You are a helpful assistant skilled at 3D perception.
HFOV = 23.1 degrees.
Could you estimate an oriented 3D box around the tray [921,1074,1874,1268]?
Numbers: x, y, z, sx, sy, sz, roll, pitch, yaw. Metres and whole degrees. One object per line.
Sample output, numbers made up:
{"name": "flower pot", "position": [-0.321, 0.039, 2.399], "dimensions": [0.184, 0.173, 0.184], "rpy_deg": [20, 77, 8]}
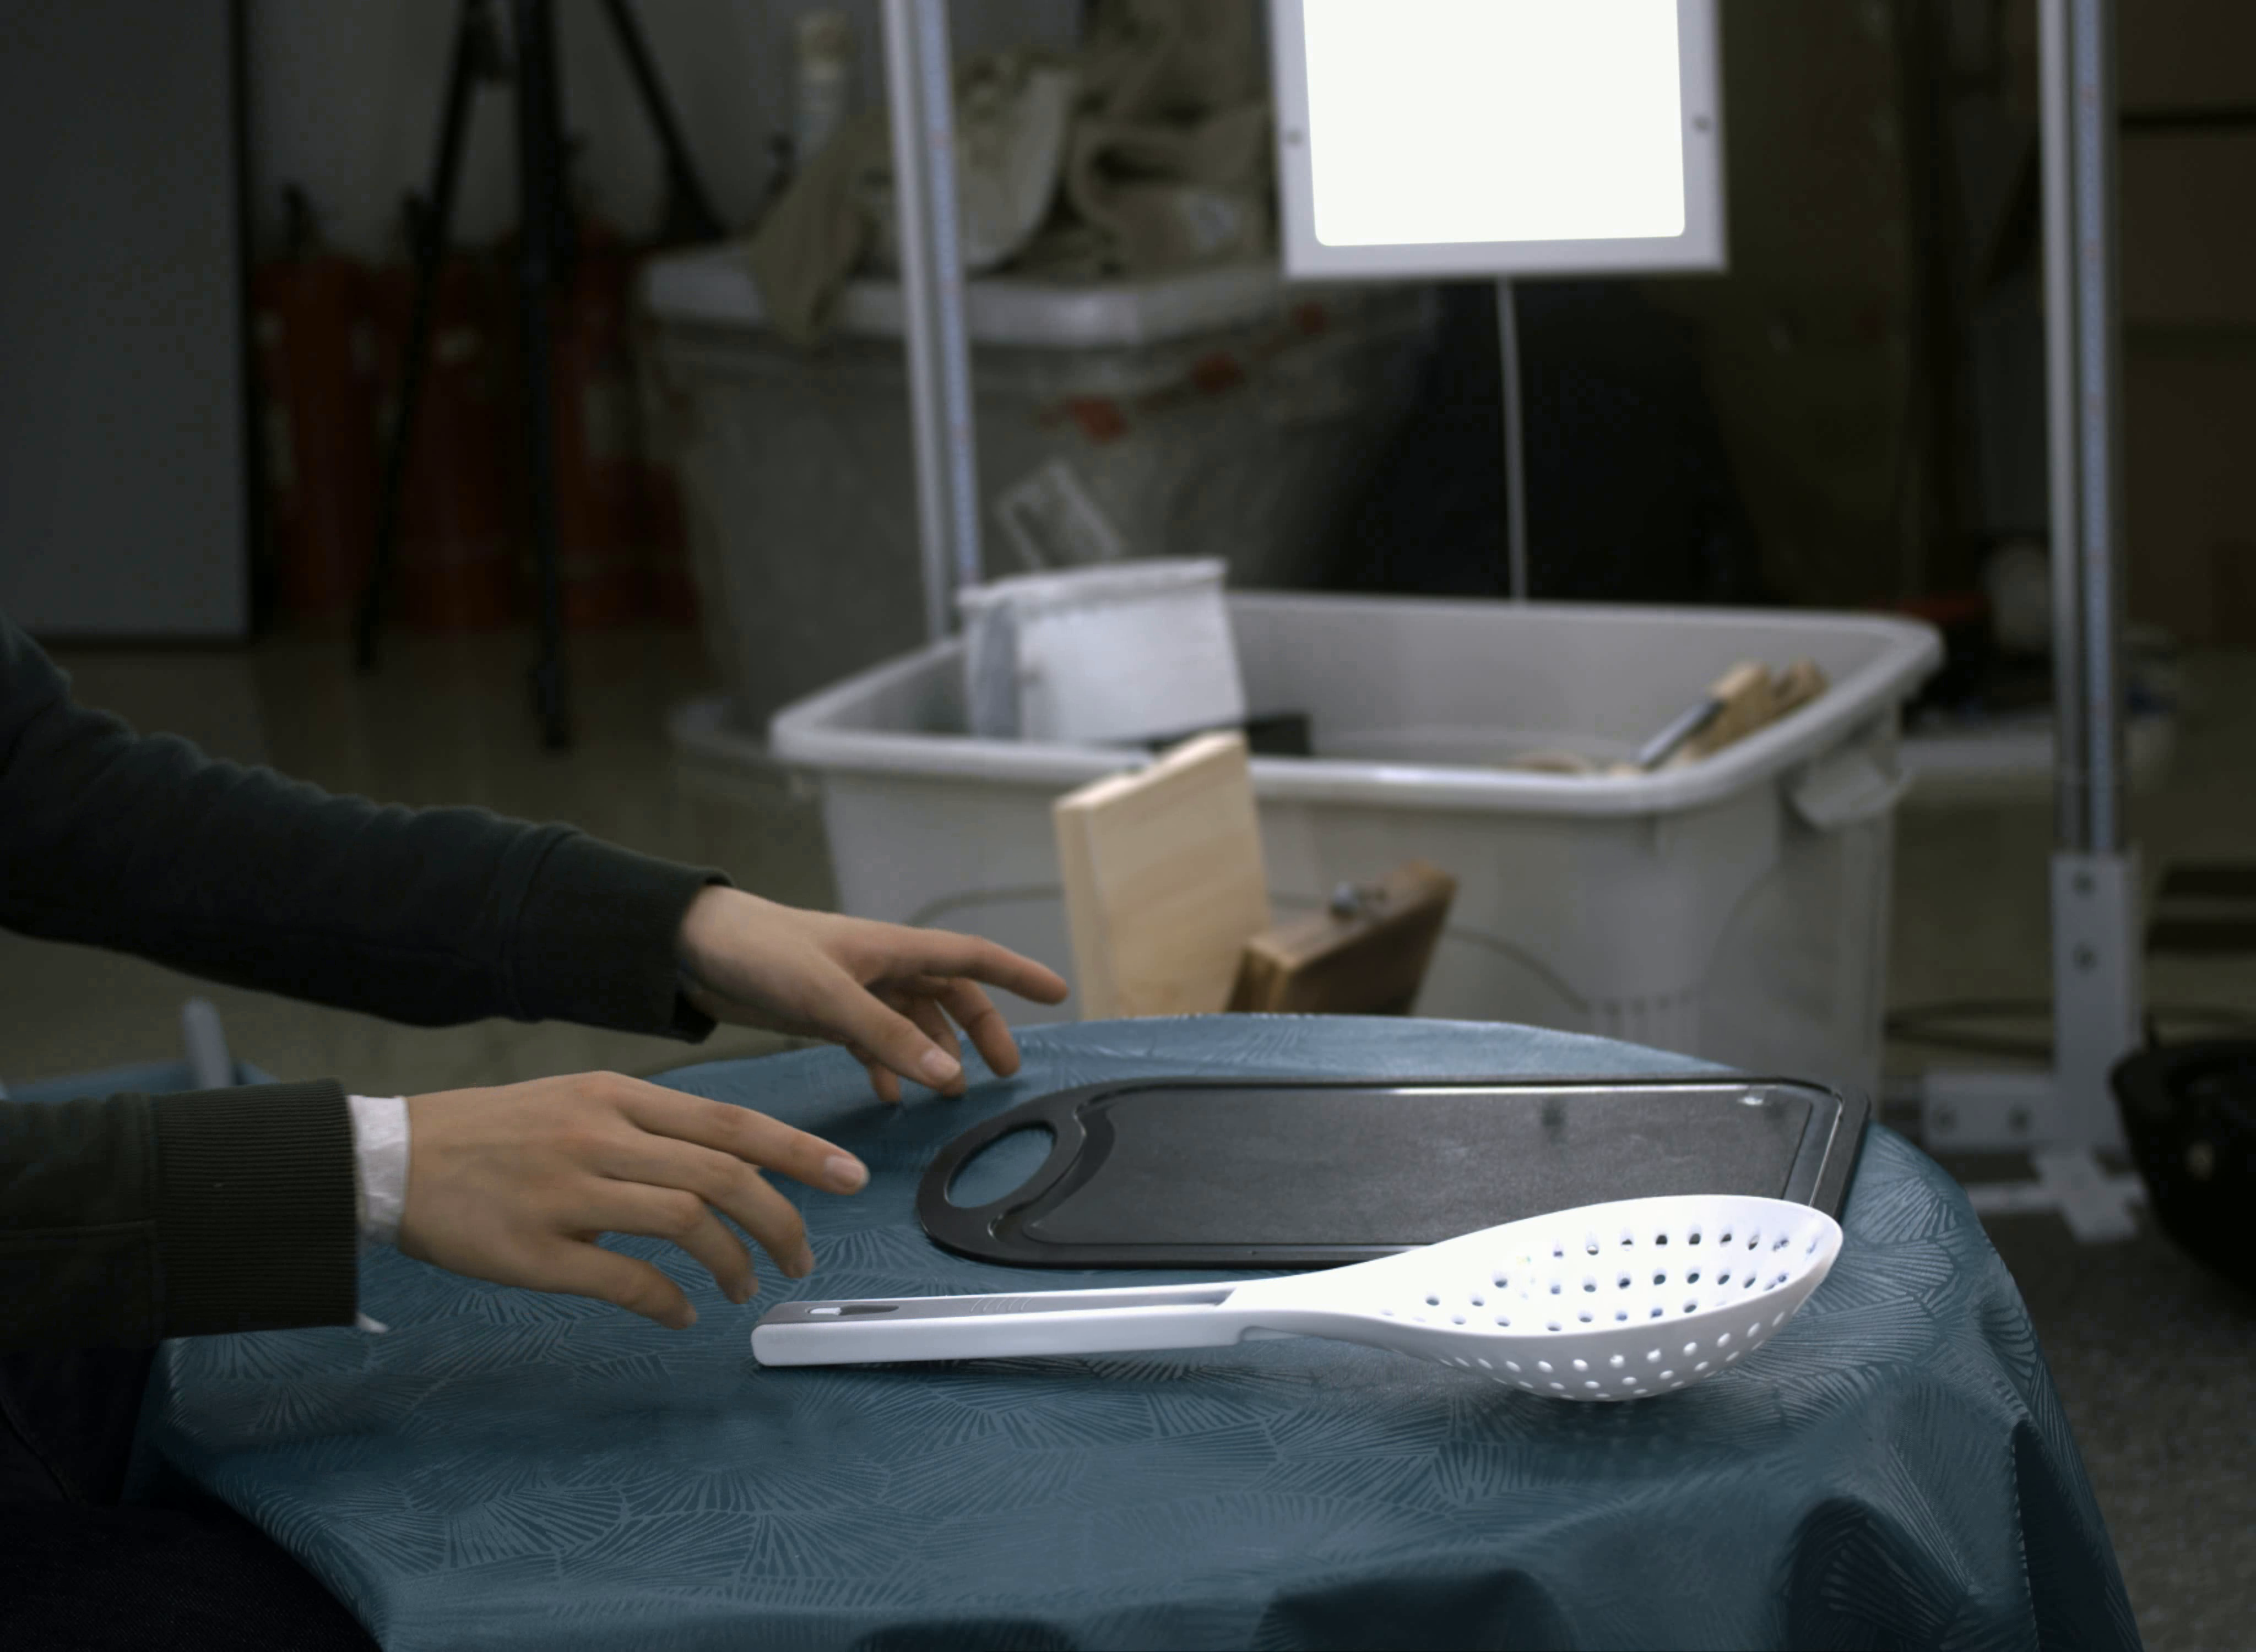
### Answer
{"name": "tray", "position": [0.090, 0.116, 1.895], "dimensions": [0.328, 0.010, 0.208], "rpy_deg": [-1, 14, 15]}

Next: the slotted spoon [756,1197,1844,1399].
{"name": "slotted spoon", "position": [0.049, 0.148, 1.697], "dimensions": [0.354, 0.046, 0.134], "rpy_deg": [-1, 12, 20]}
